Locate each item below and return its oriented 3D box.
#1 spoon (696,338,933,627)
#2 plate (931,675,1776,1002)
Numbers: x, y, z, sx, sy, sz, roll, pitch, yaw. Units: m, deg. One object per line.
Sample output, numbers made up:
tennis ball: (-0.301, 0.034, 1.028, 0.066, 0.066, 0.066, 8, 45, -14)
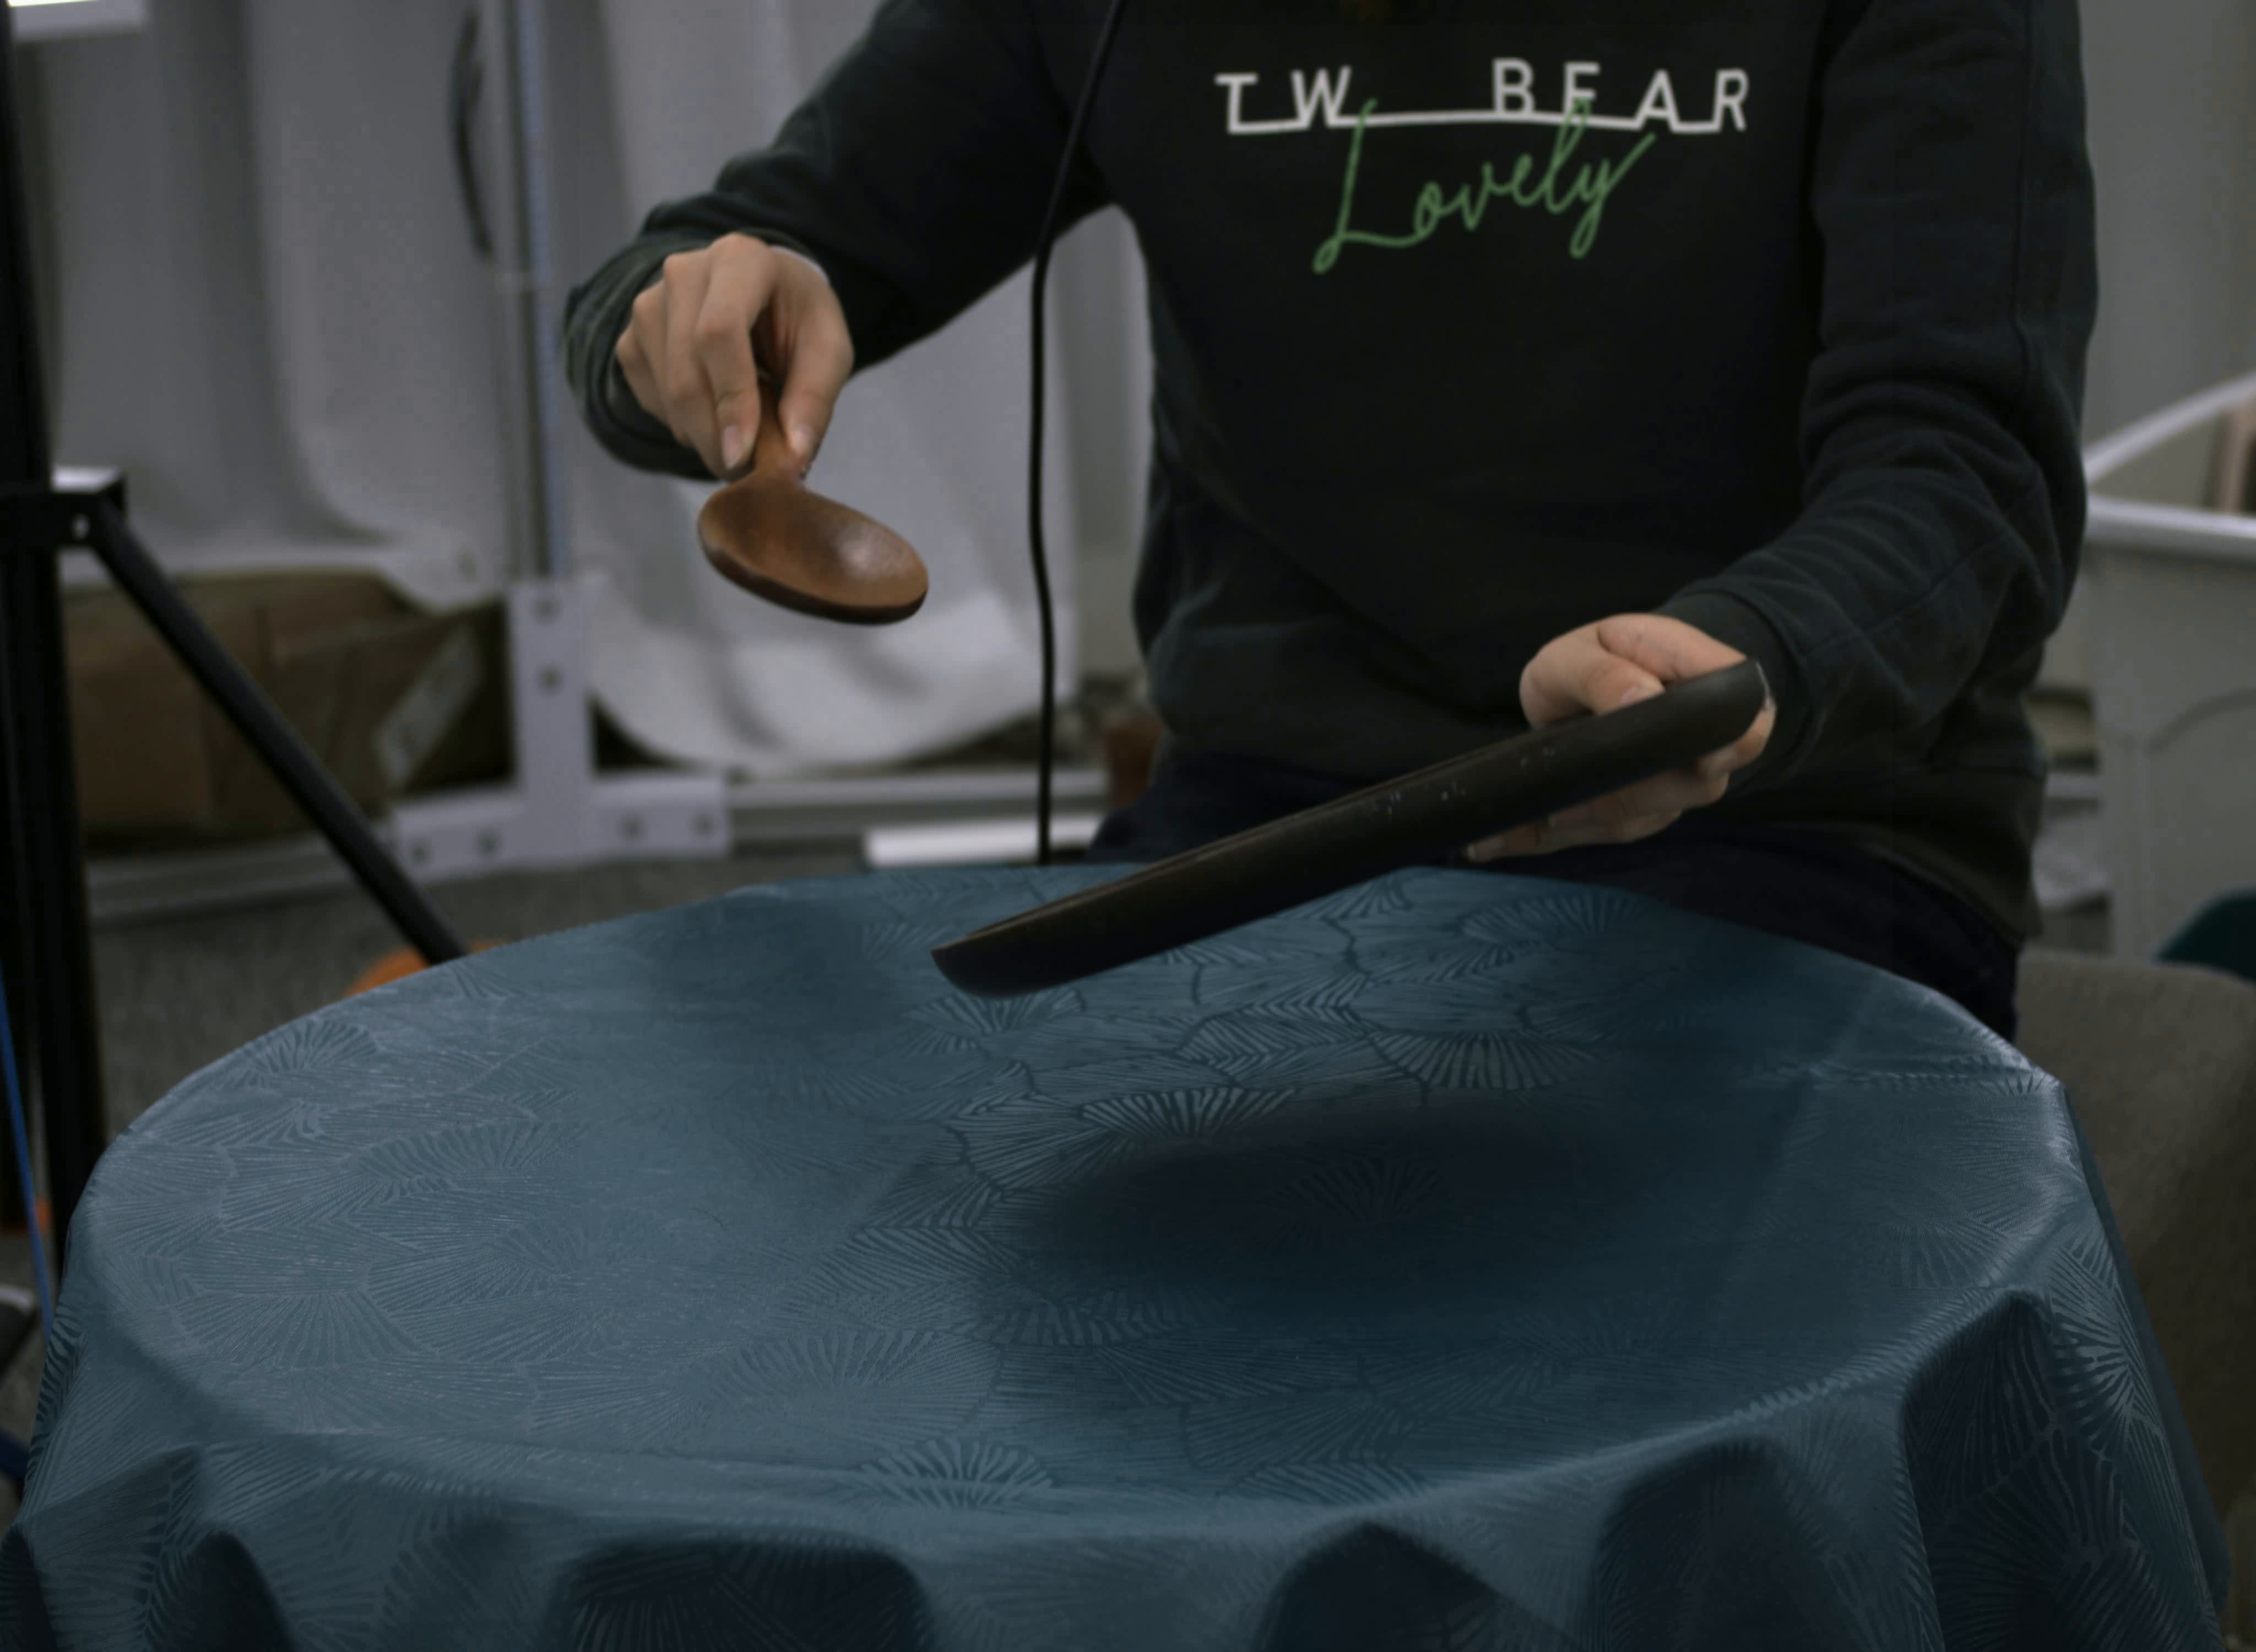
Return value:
spoon: (-0.112, -0.109, 1.715, 0.074, 0.017, 0.219, 8, 24, -17)
plate: (0.066, 0.004, 1.523, 0.253, 0.029, 0.255, -18, 1, -1)
